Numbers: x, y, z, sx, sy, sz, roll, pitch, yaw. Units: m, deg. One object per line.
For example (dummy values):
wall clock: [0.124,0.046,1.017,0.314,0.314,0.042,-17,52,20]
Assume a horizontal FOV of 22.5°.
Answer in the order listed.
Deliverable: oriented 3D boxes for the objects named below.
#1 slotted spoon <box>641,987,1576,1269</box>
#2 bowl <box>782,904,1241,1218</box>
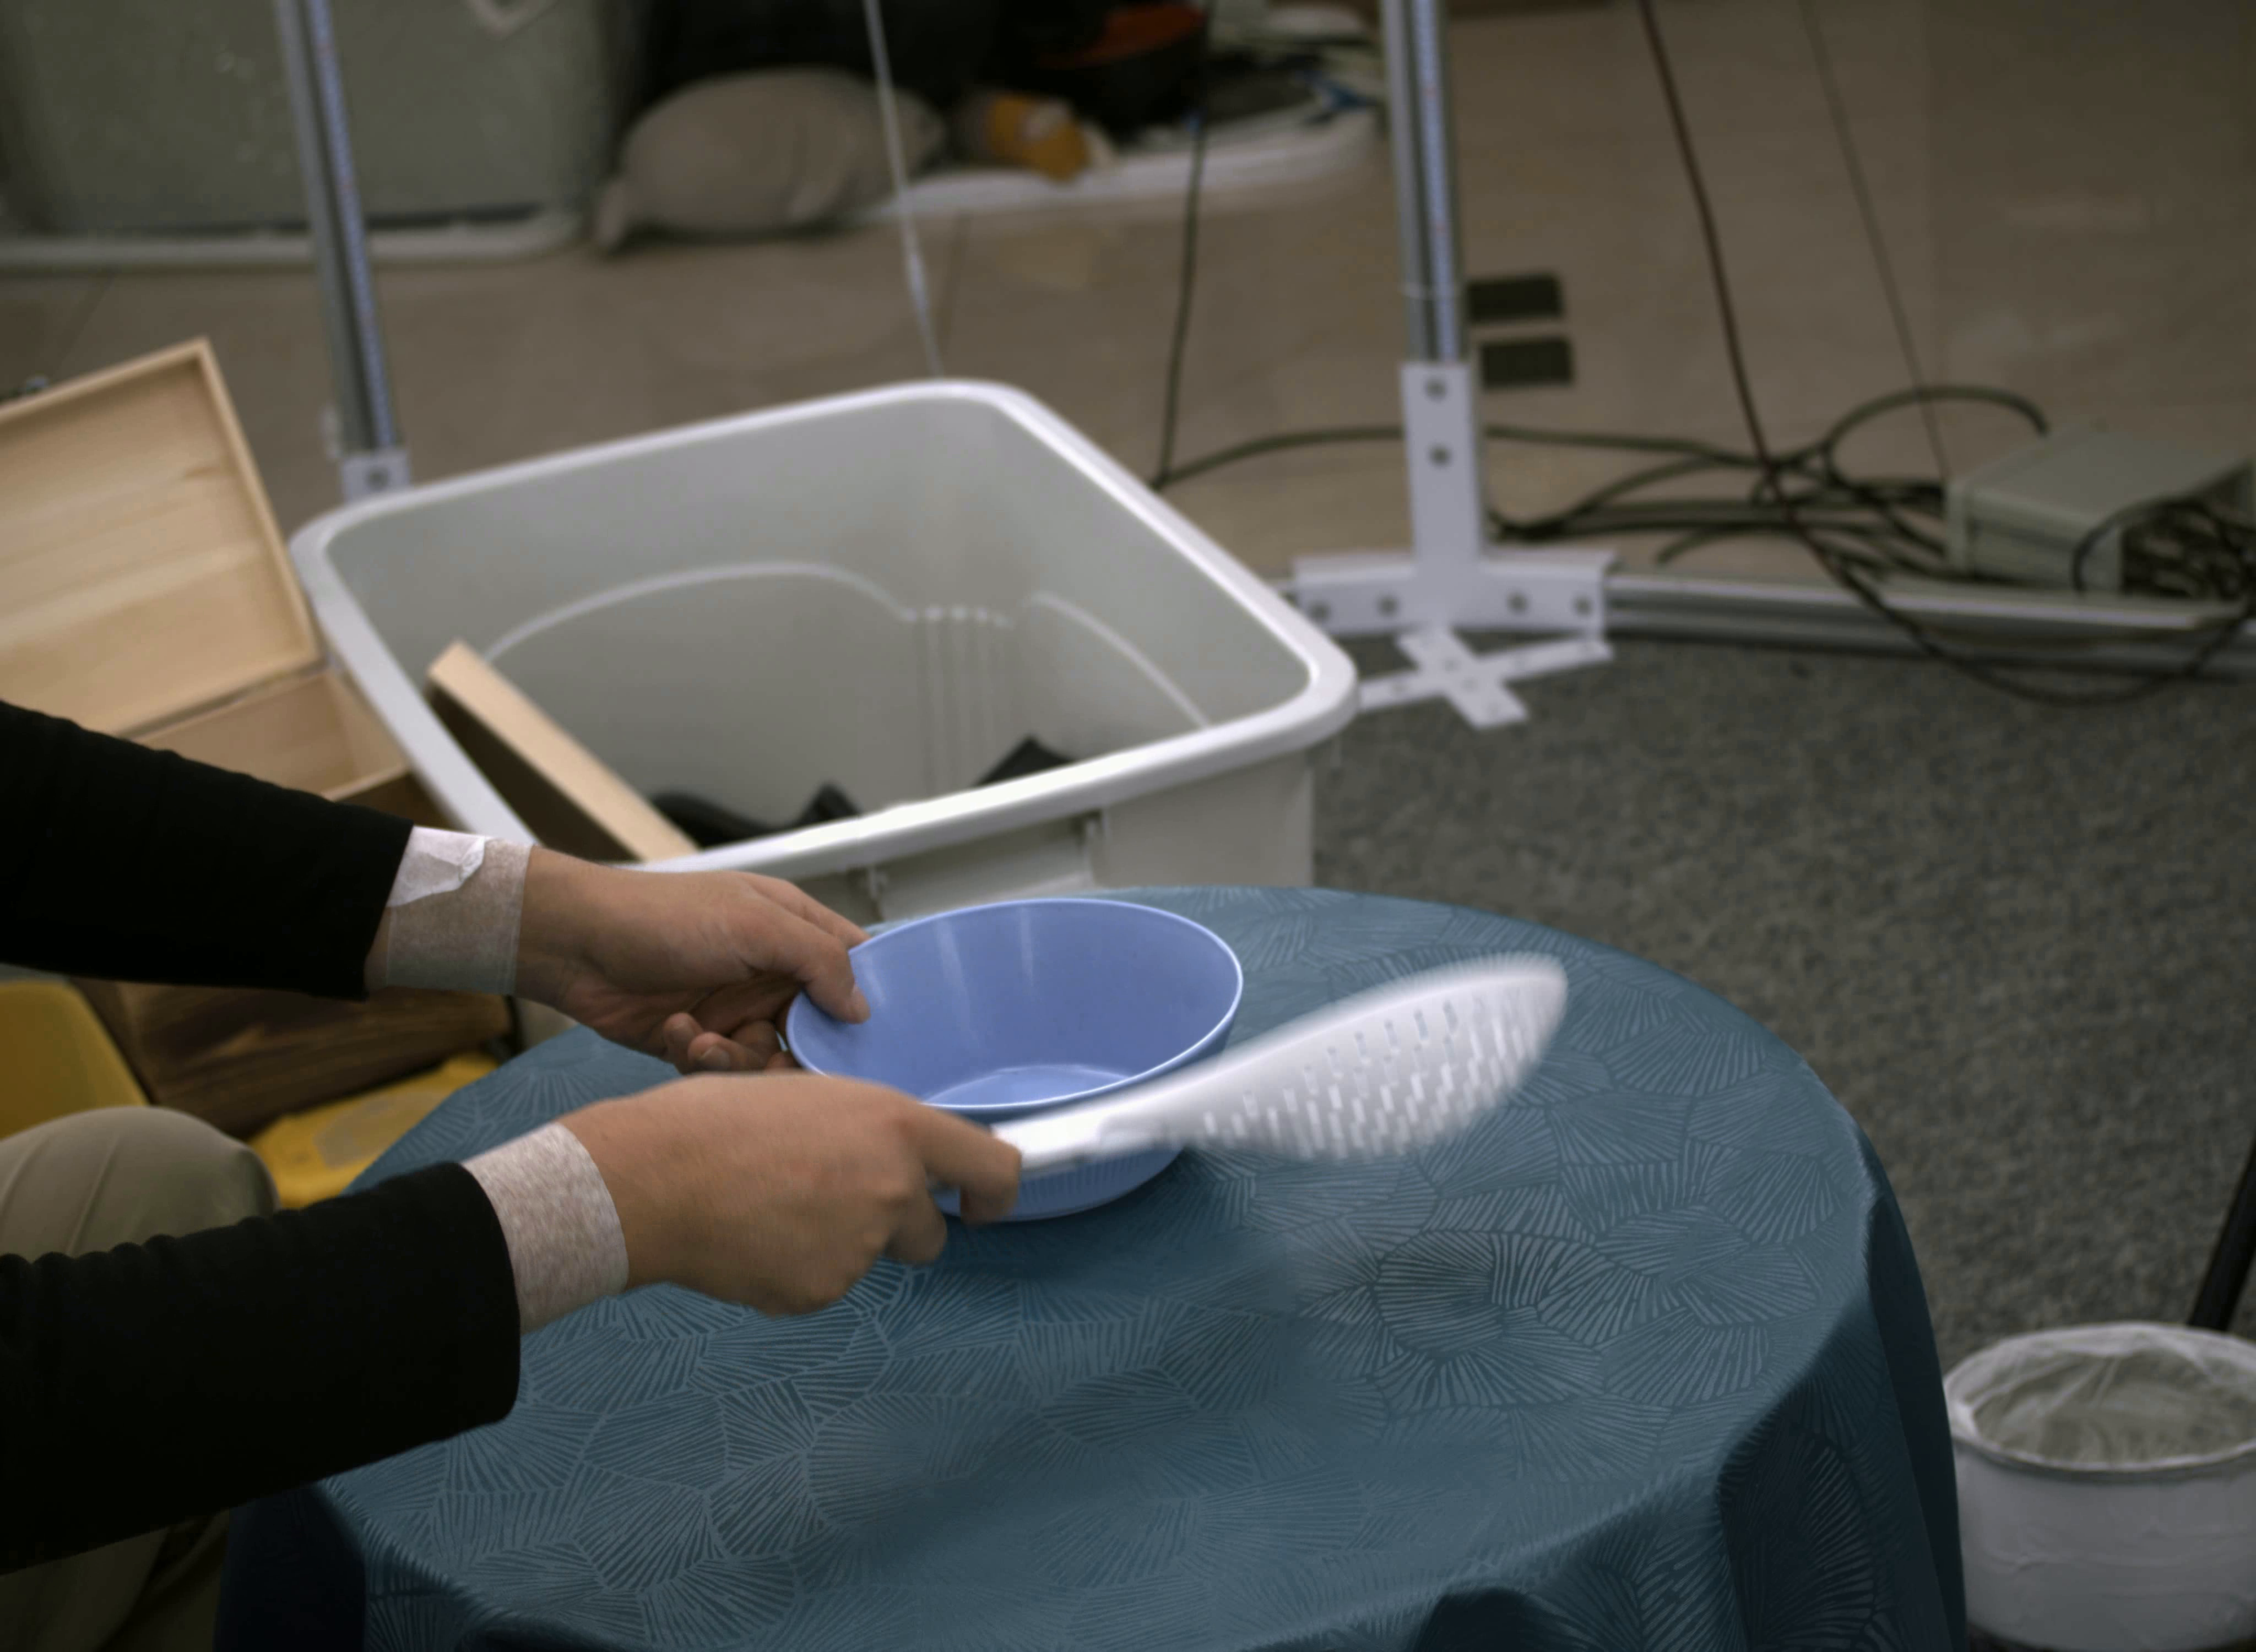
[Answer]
slotted spoon: [-0.002,0.109,1.982,0.349,0.045,0.137,-7,-17,-19]
bowl: [-0.041,0.095,2.168,0.176,0.071,0.173,-6,25,3]
